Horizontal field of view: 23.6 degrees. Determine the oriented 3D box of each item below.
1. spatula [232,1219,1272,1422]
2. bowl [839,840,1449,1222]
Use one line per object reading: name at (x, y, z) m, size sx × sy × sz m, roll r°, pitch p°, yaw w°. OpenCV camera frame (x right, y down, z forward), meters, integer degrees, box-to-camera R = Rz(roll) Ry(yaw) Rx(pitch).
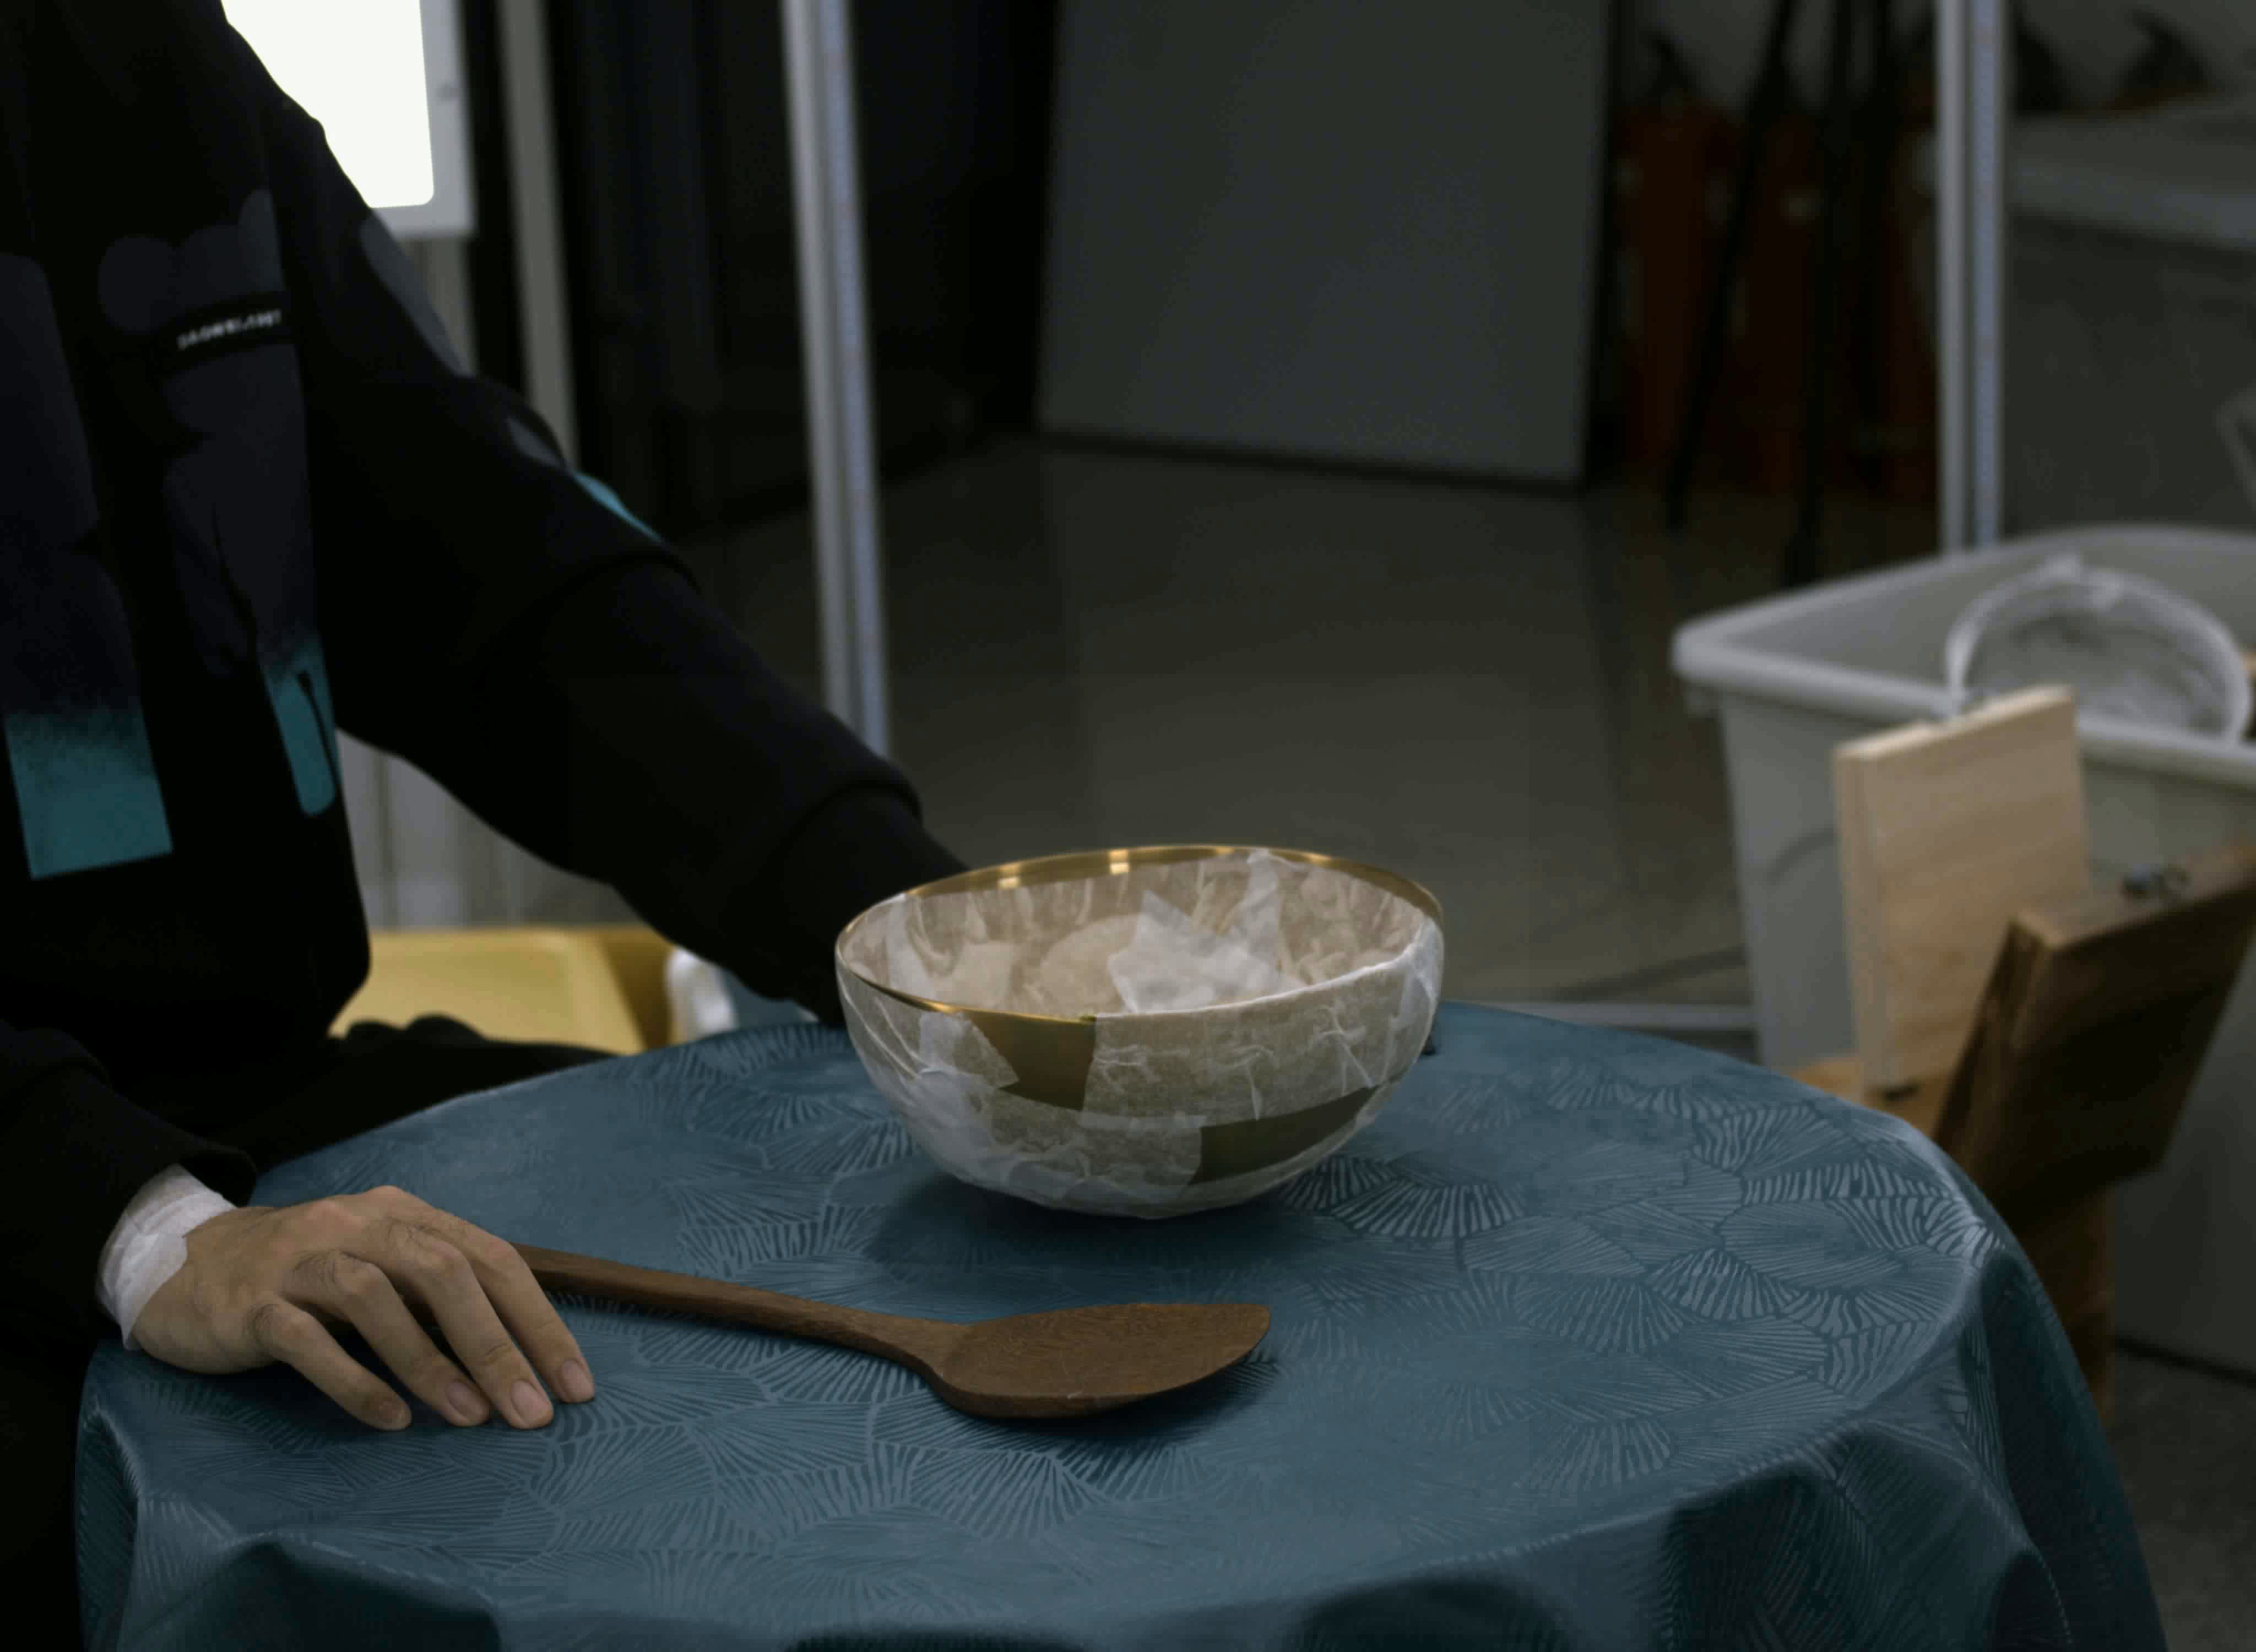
spatula at (-0.131, 0.148, 1.673) m, size 0.388 × 0.016 × 0.094 m, roll 5°, pitch 16°, yaw 33°
bowl at (0.007, 0.073, 1.766) m, size 0.212 × 0.095 × 0.215 m, roll -6°, pitch 14°, yaw 1°
